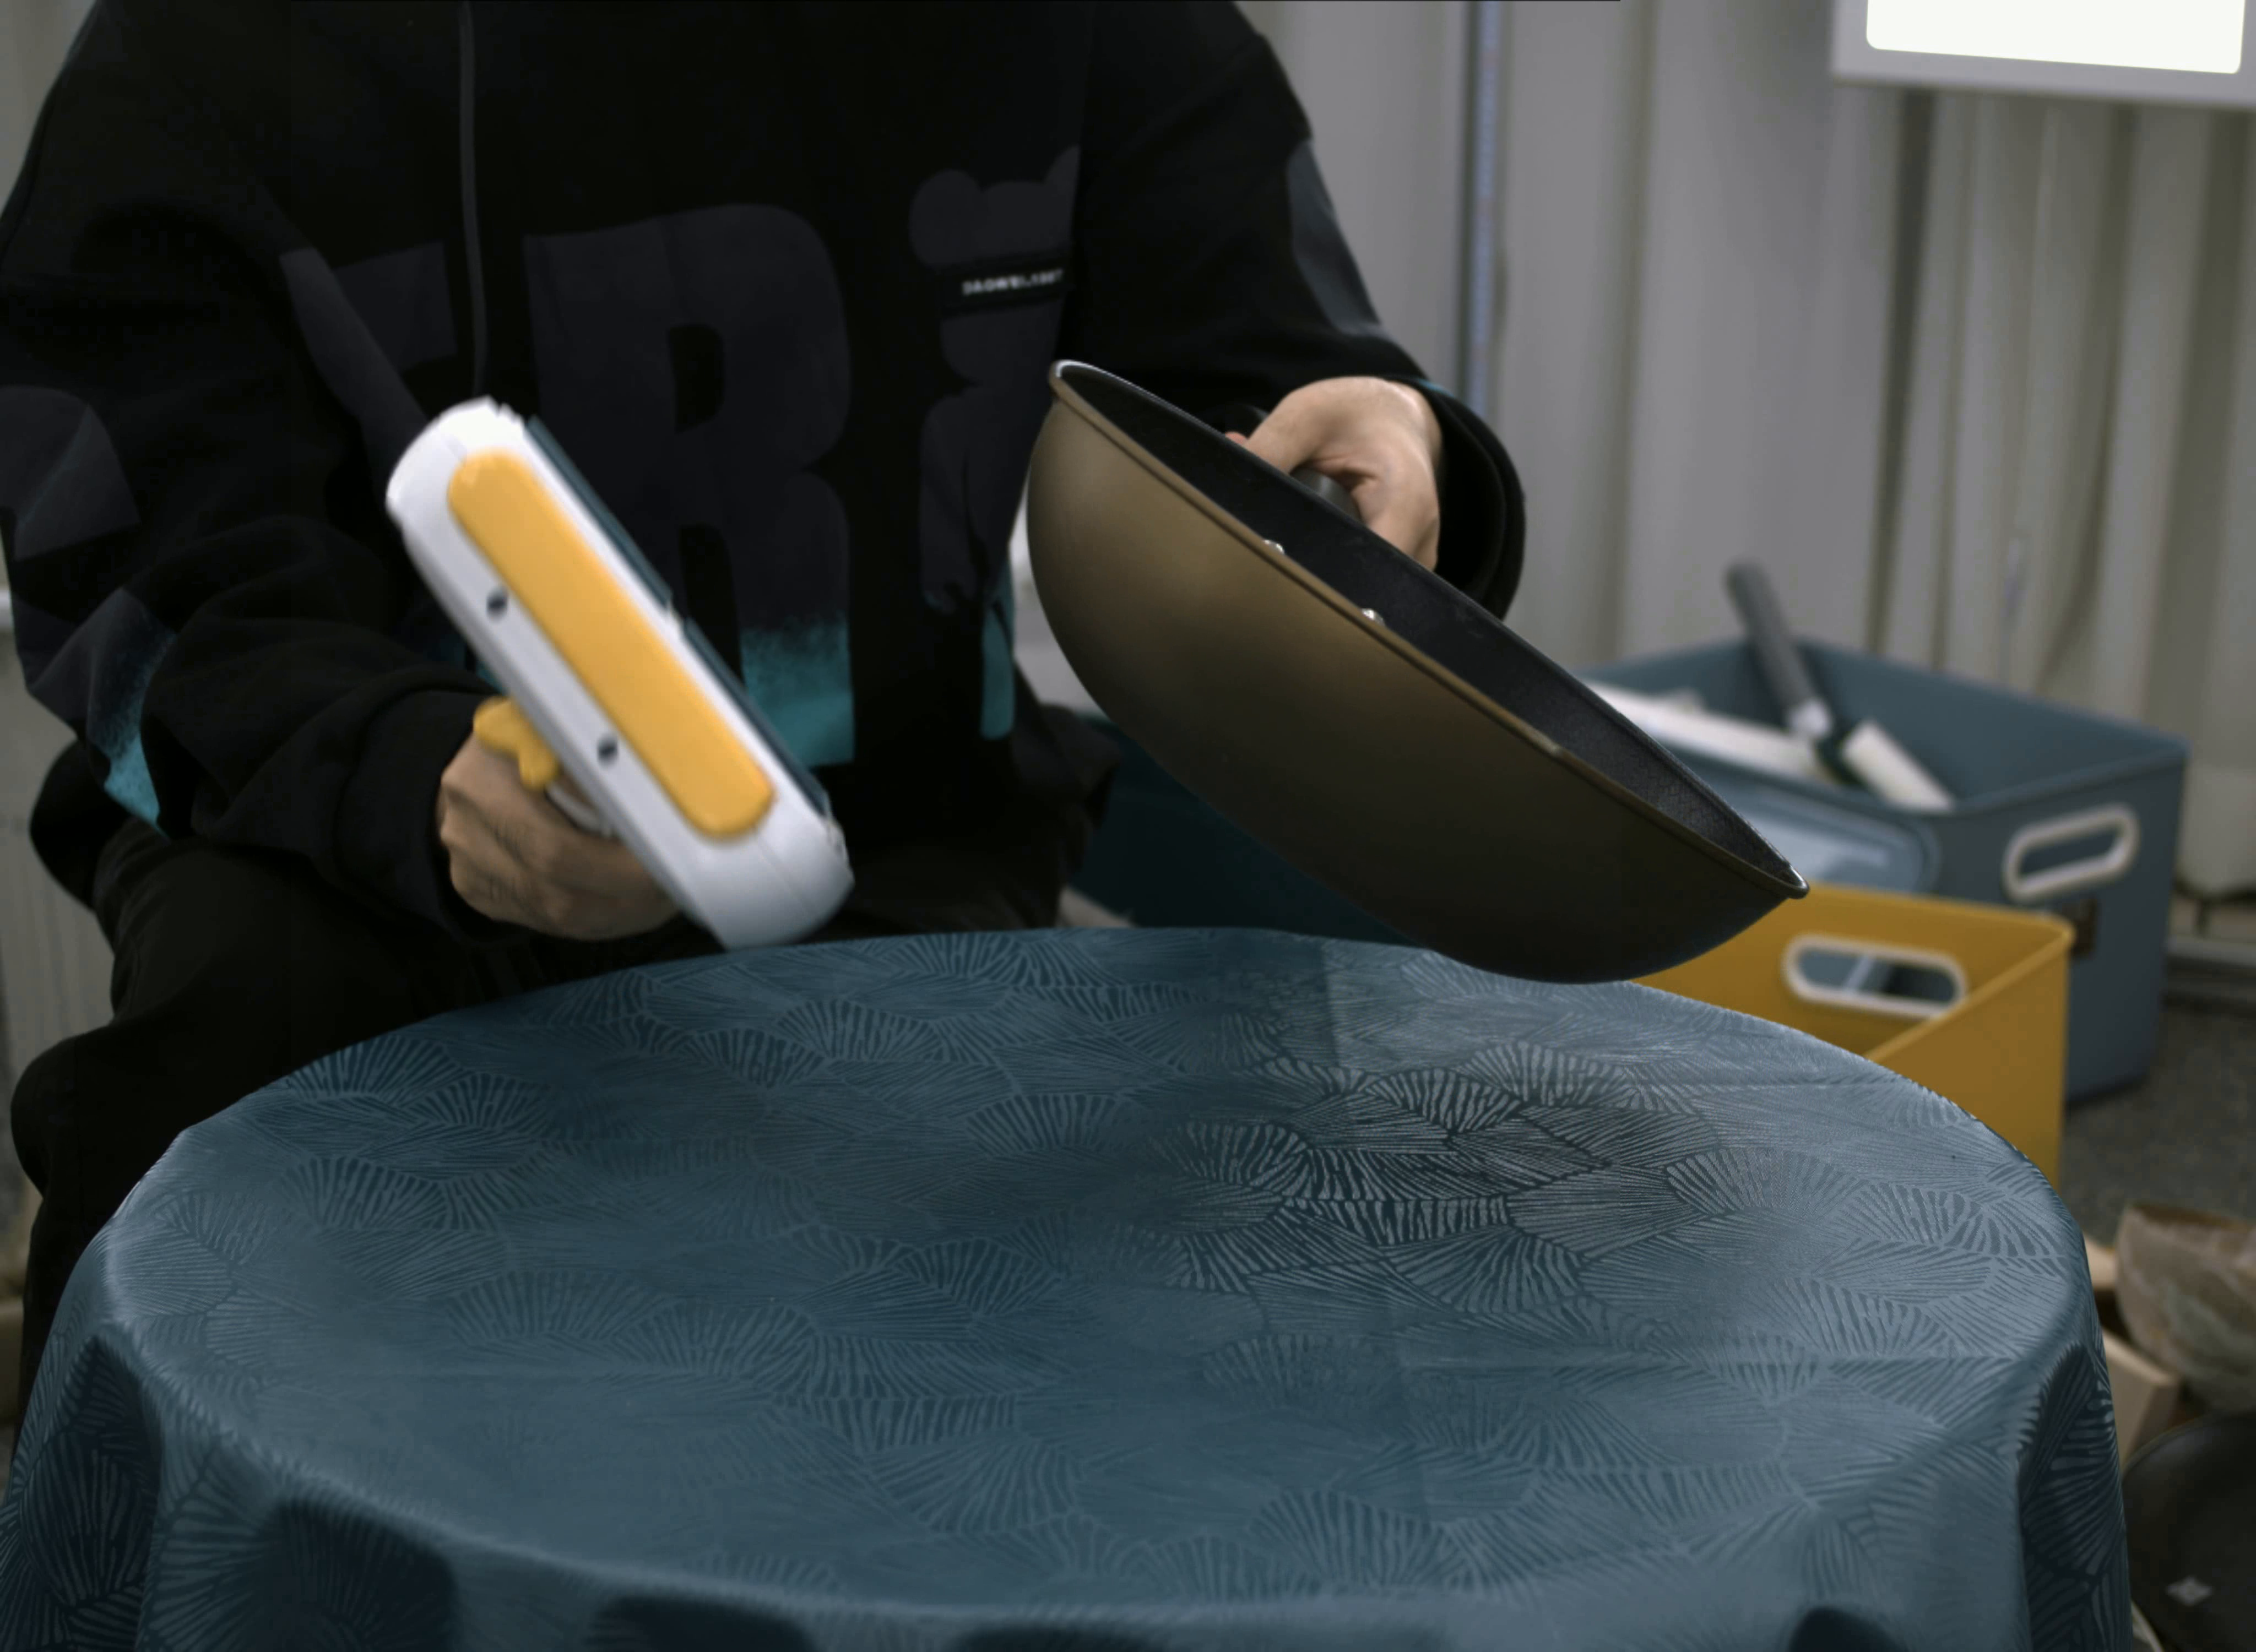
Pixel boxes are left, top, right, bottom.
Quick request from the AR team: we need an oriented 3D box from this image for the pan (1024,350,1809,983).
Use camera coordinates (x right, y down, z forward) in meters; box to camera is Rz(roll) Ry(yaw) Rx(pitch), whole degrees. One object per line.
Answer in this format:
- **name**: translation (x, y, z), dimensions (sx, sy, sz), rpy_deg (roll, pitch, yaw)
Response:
- **pan**: translation (0.060, -0.057, 1.704), dimensions (0.290, 0.087, 0.459), rpy_deg (33, 8, -16)

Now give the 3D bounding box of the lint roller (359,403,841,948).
- **lint roller**: translation (-0.162, -0.022, 1.633), dimensions (0.074, 0.191, 0.194), rpy_deg (-41, -14, -12)
